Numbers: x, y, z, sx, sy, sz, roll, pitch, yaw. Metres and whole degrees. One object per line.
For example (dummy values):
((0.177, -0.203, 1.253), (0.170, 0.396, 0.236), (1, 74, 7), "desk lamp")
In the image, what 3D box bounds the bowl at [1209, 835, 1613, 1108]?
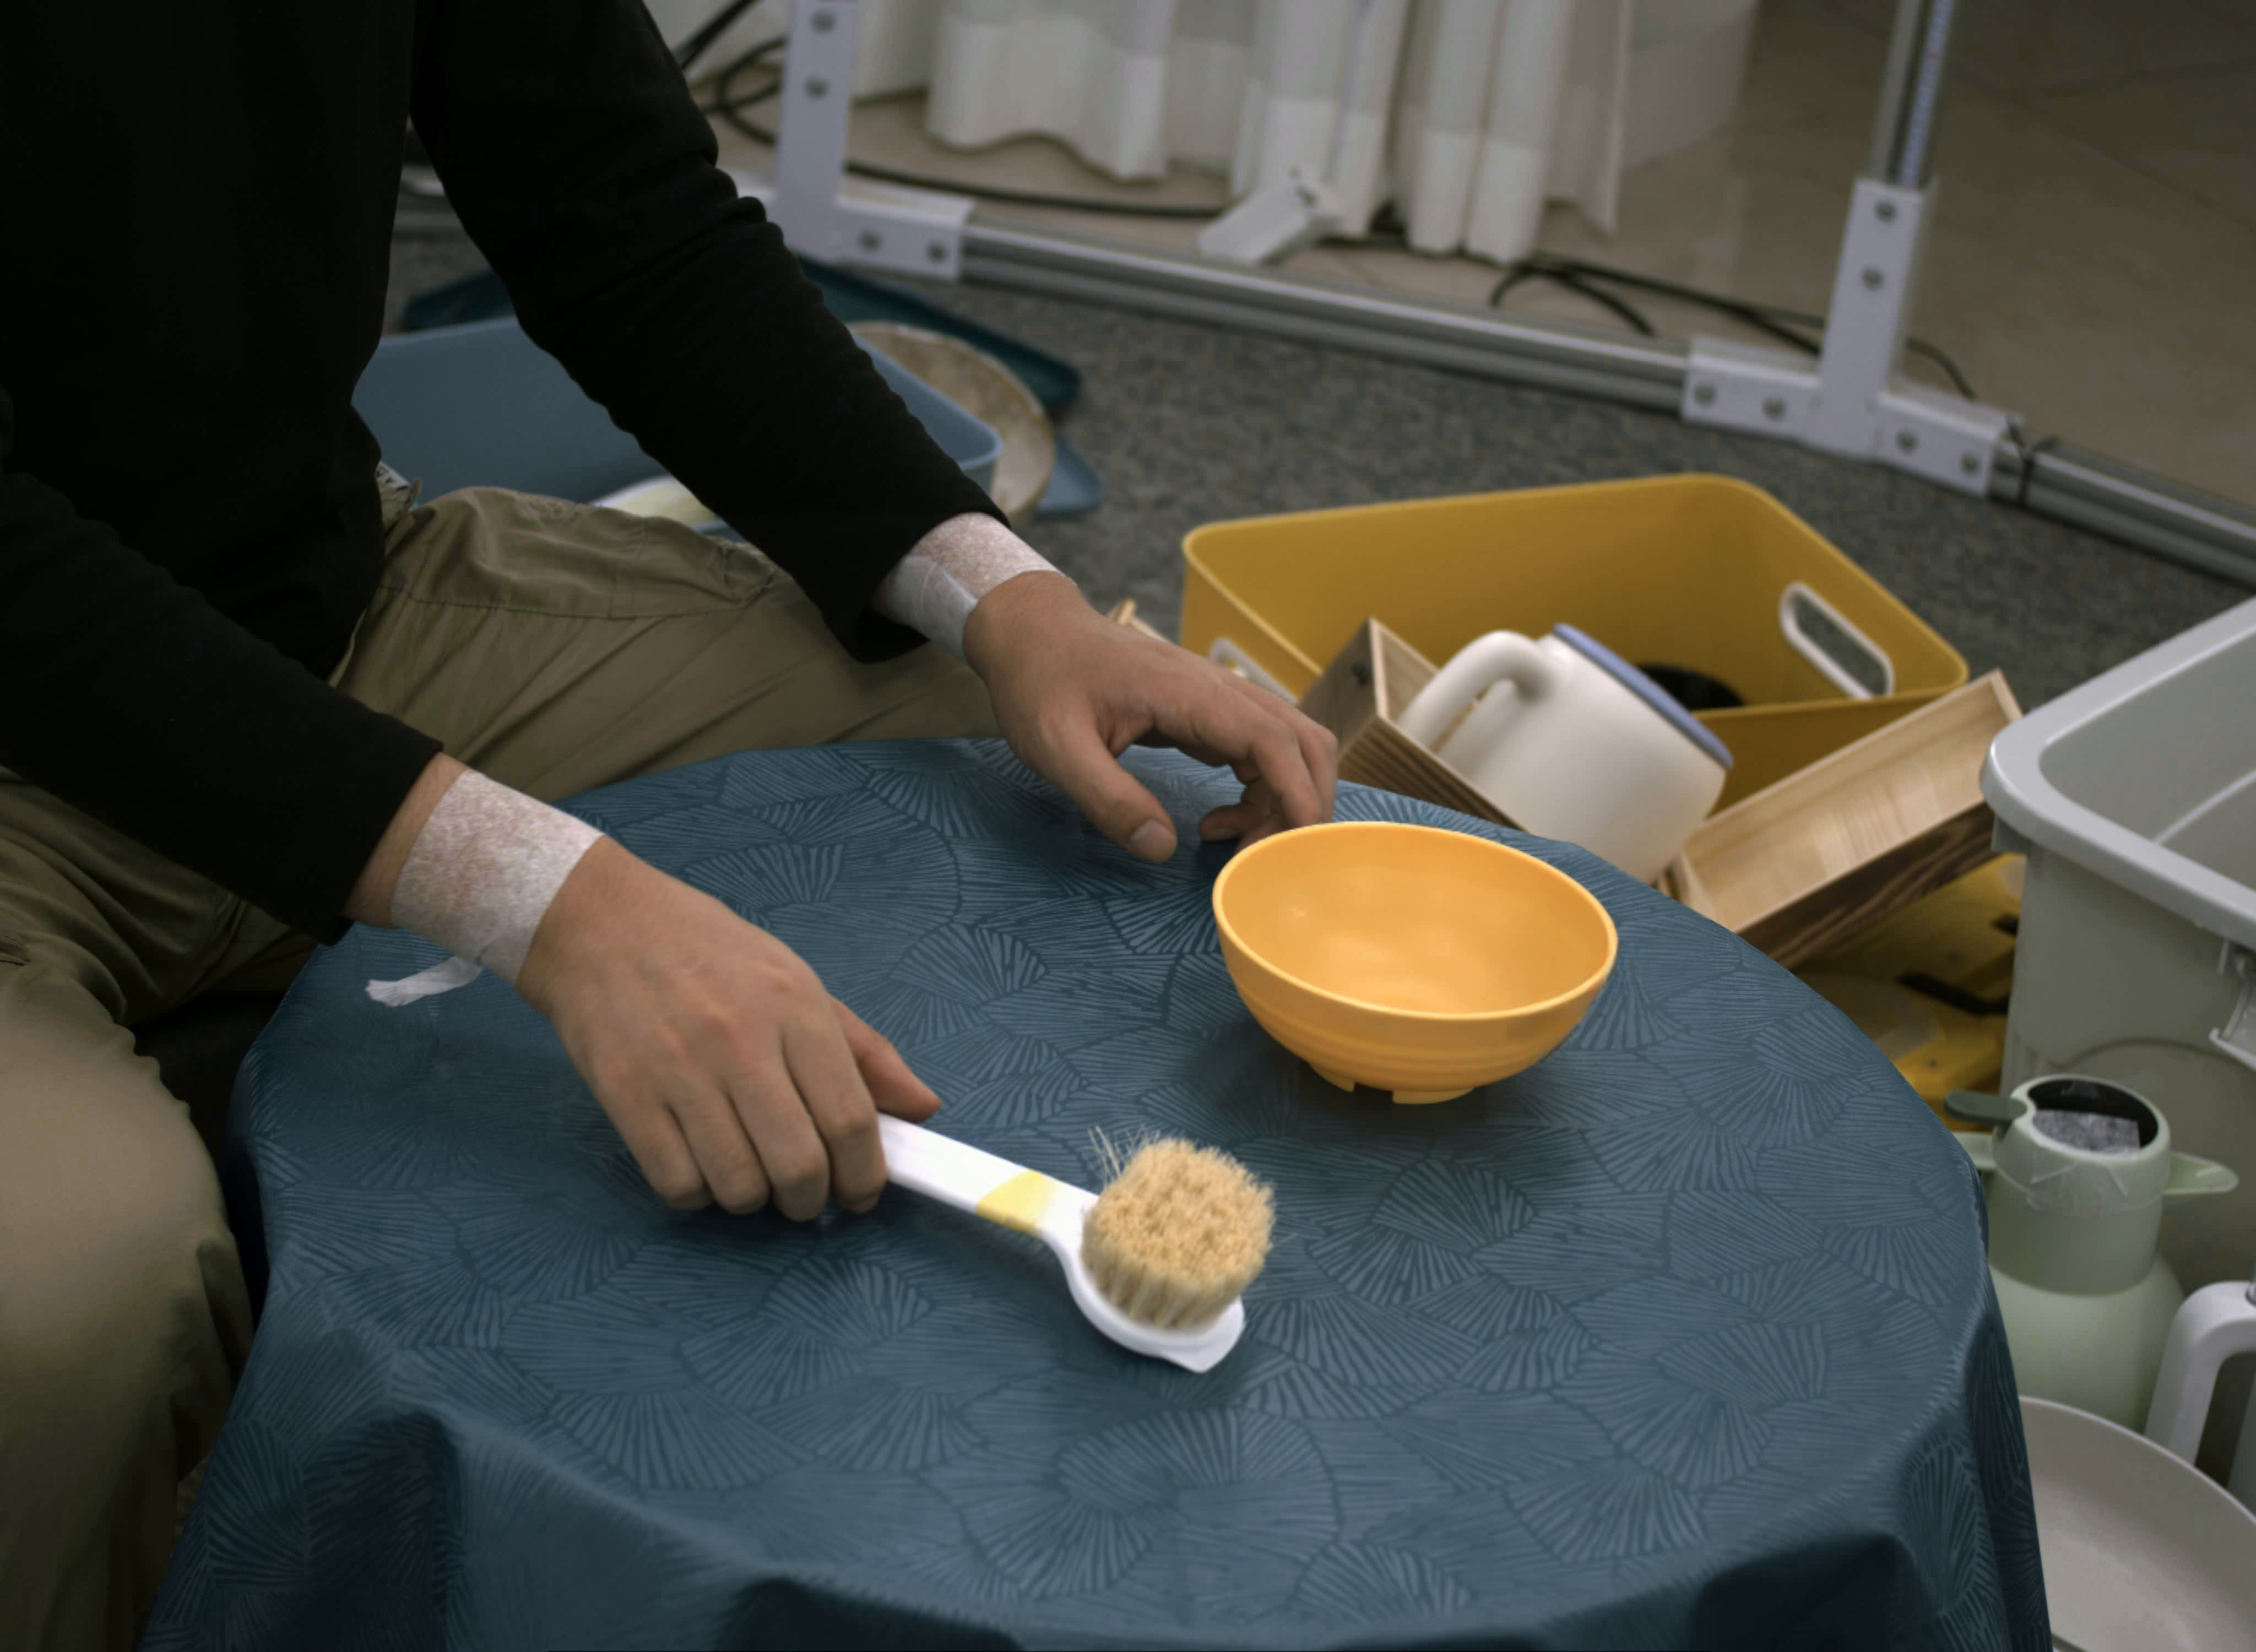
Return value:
((0.097, 0.059, 1.888), (0.145, 0.060, 0.146), (5, 24, -2), "bowl")

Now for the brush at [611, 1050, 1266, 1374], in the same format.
((-0.069, 0.105, 1.764), (0.268, 0.056, 0.068), (24, 27, 32), "brush")
